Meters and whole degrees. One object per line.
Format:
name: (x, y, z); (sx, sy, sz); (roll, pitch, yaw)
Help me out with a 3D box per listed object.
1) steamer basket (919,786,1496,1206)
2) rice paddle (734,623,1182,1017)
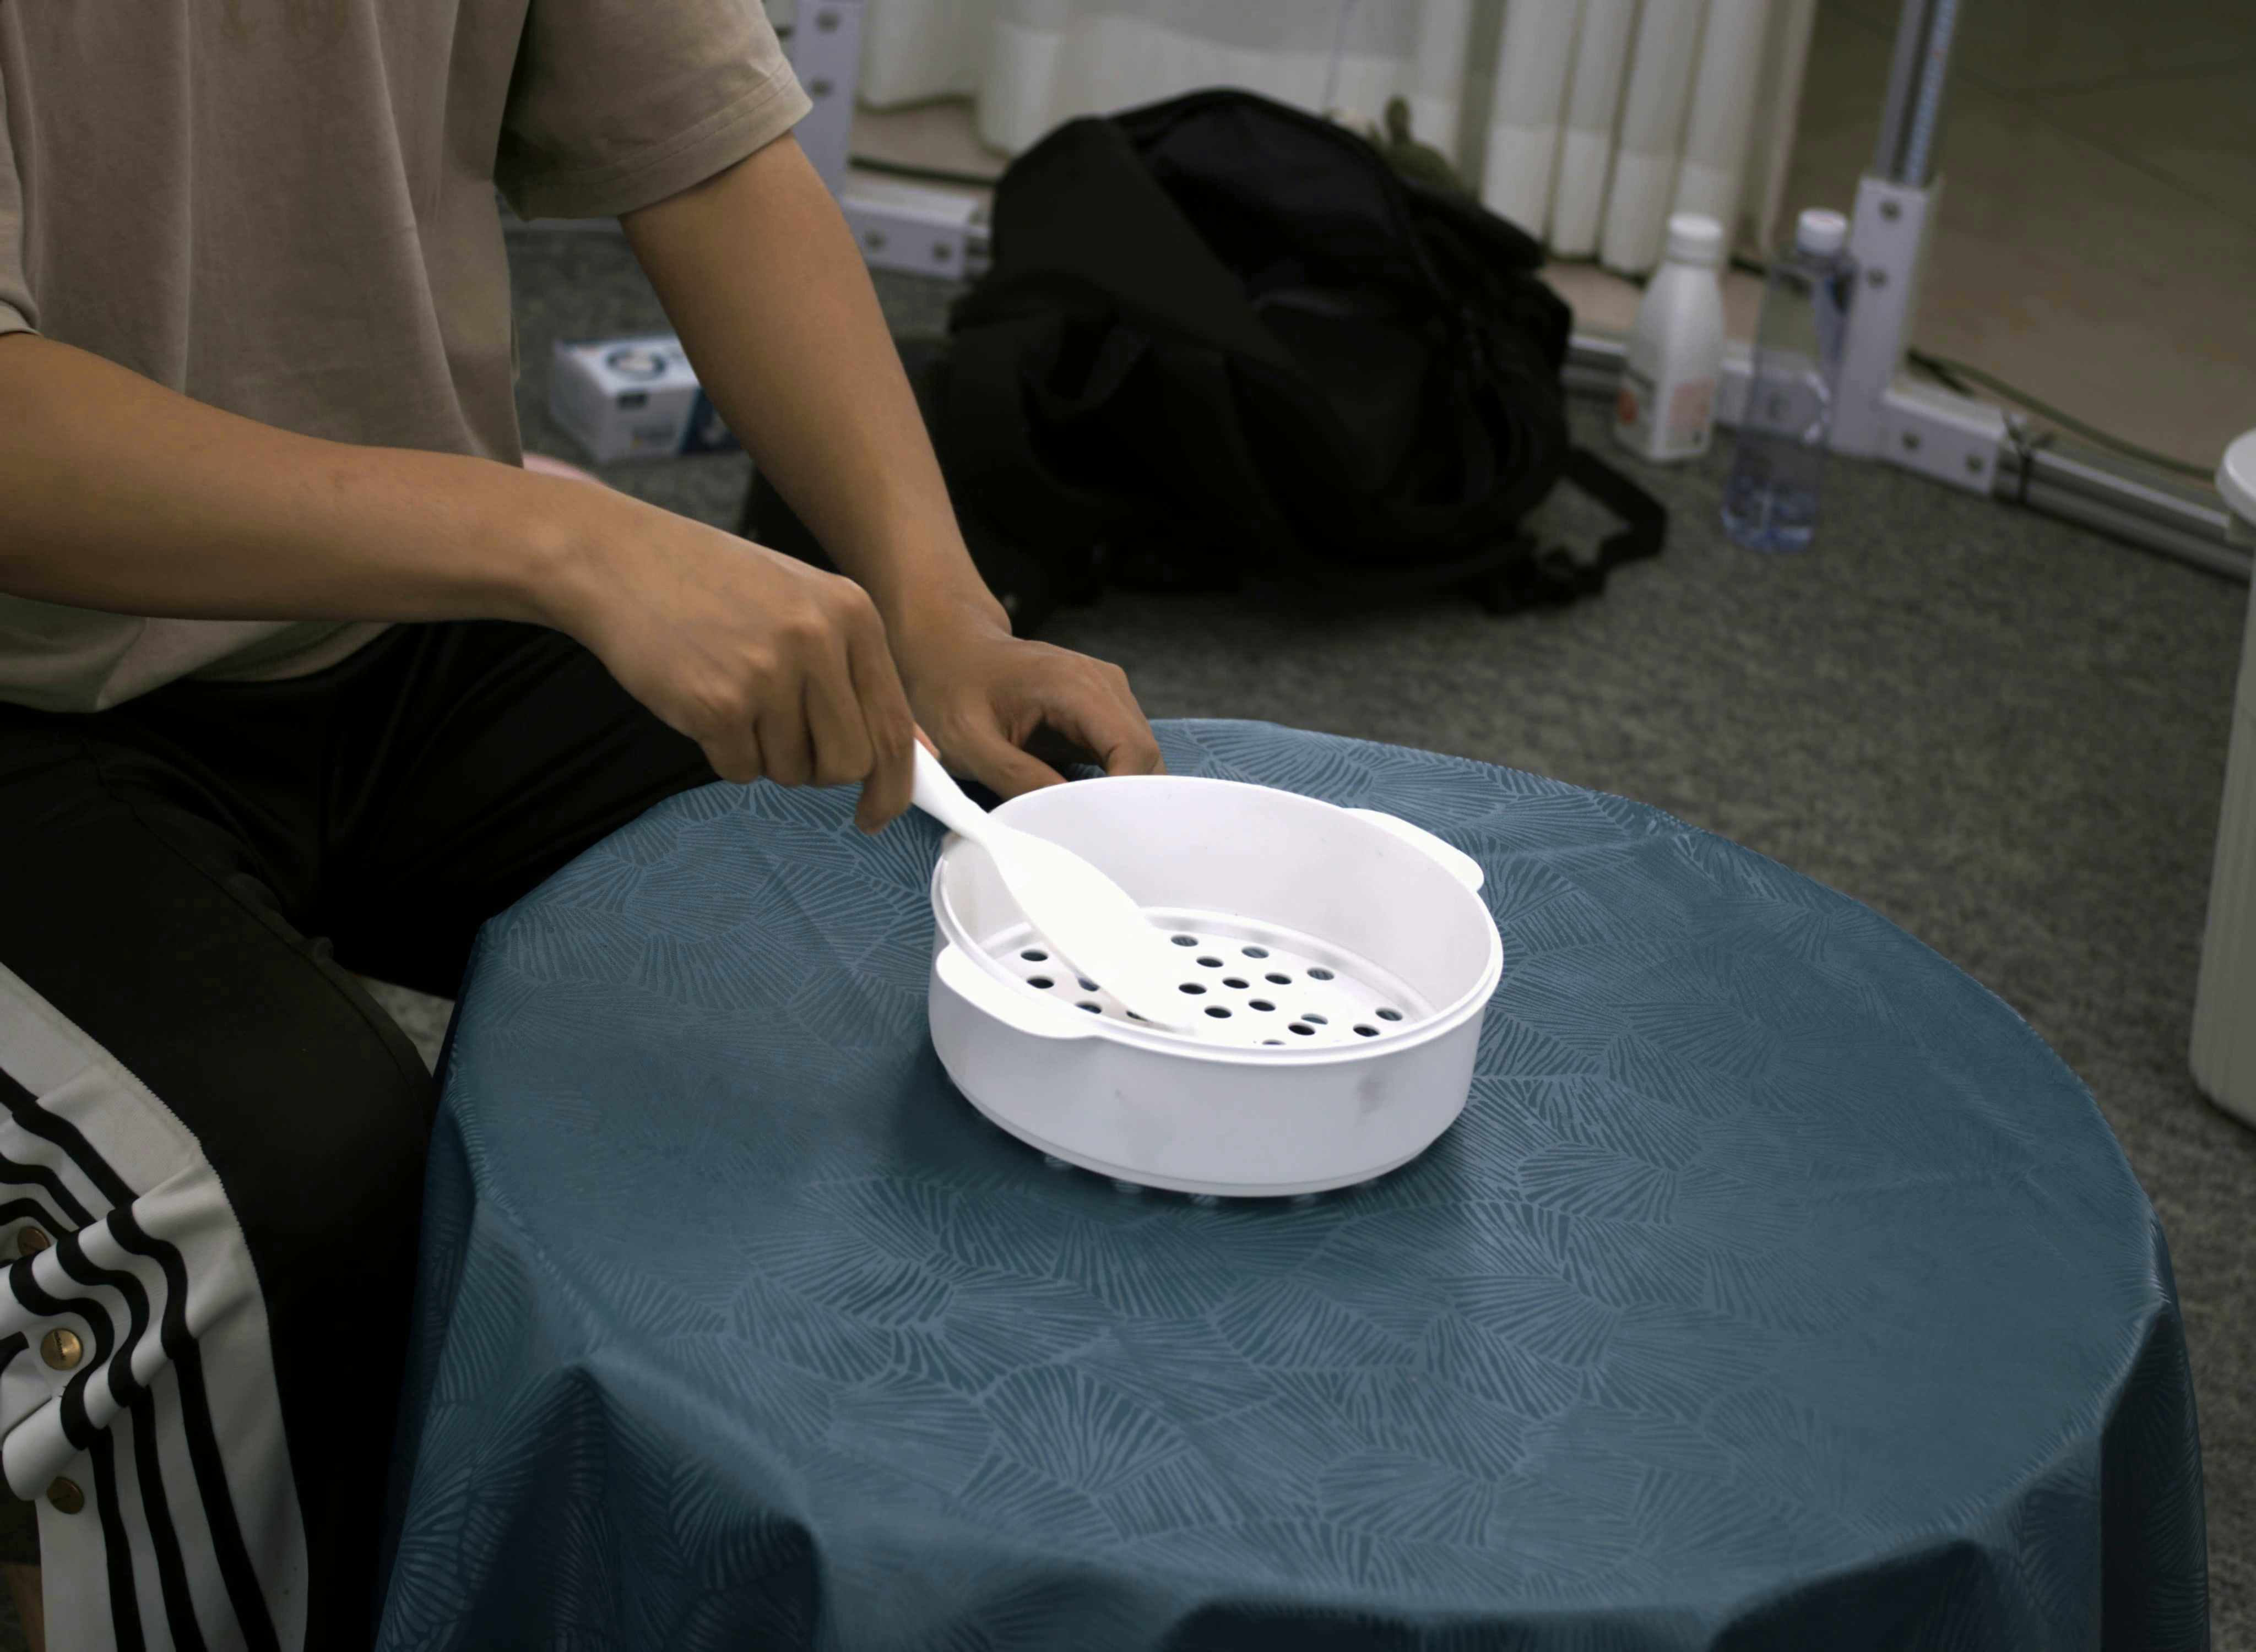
steamer basket: (0.025, 0.060, 1.864); (0.229, 0.069, 0.203); (-16, 35, -42)
rice paddle: (-0.051, 0.000, 1.840); (0.204, 0.029, 0.069); (39, 25, -24)
